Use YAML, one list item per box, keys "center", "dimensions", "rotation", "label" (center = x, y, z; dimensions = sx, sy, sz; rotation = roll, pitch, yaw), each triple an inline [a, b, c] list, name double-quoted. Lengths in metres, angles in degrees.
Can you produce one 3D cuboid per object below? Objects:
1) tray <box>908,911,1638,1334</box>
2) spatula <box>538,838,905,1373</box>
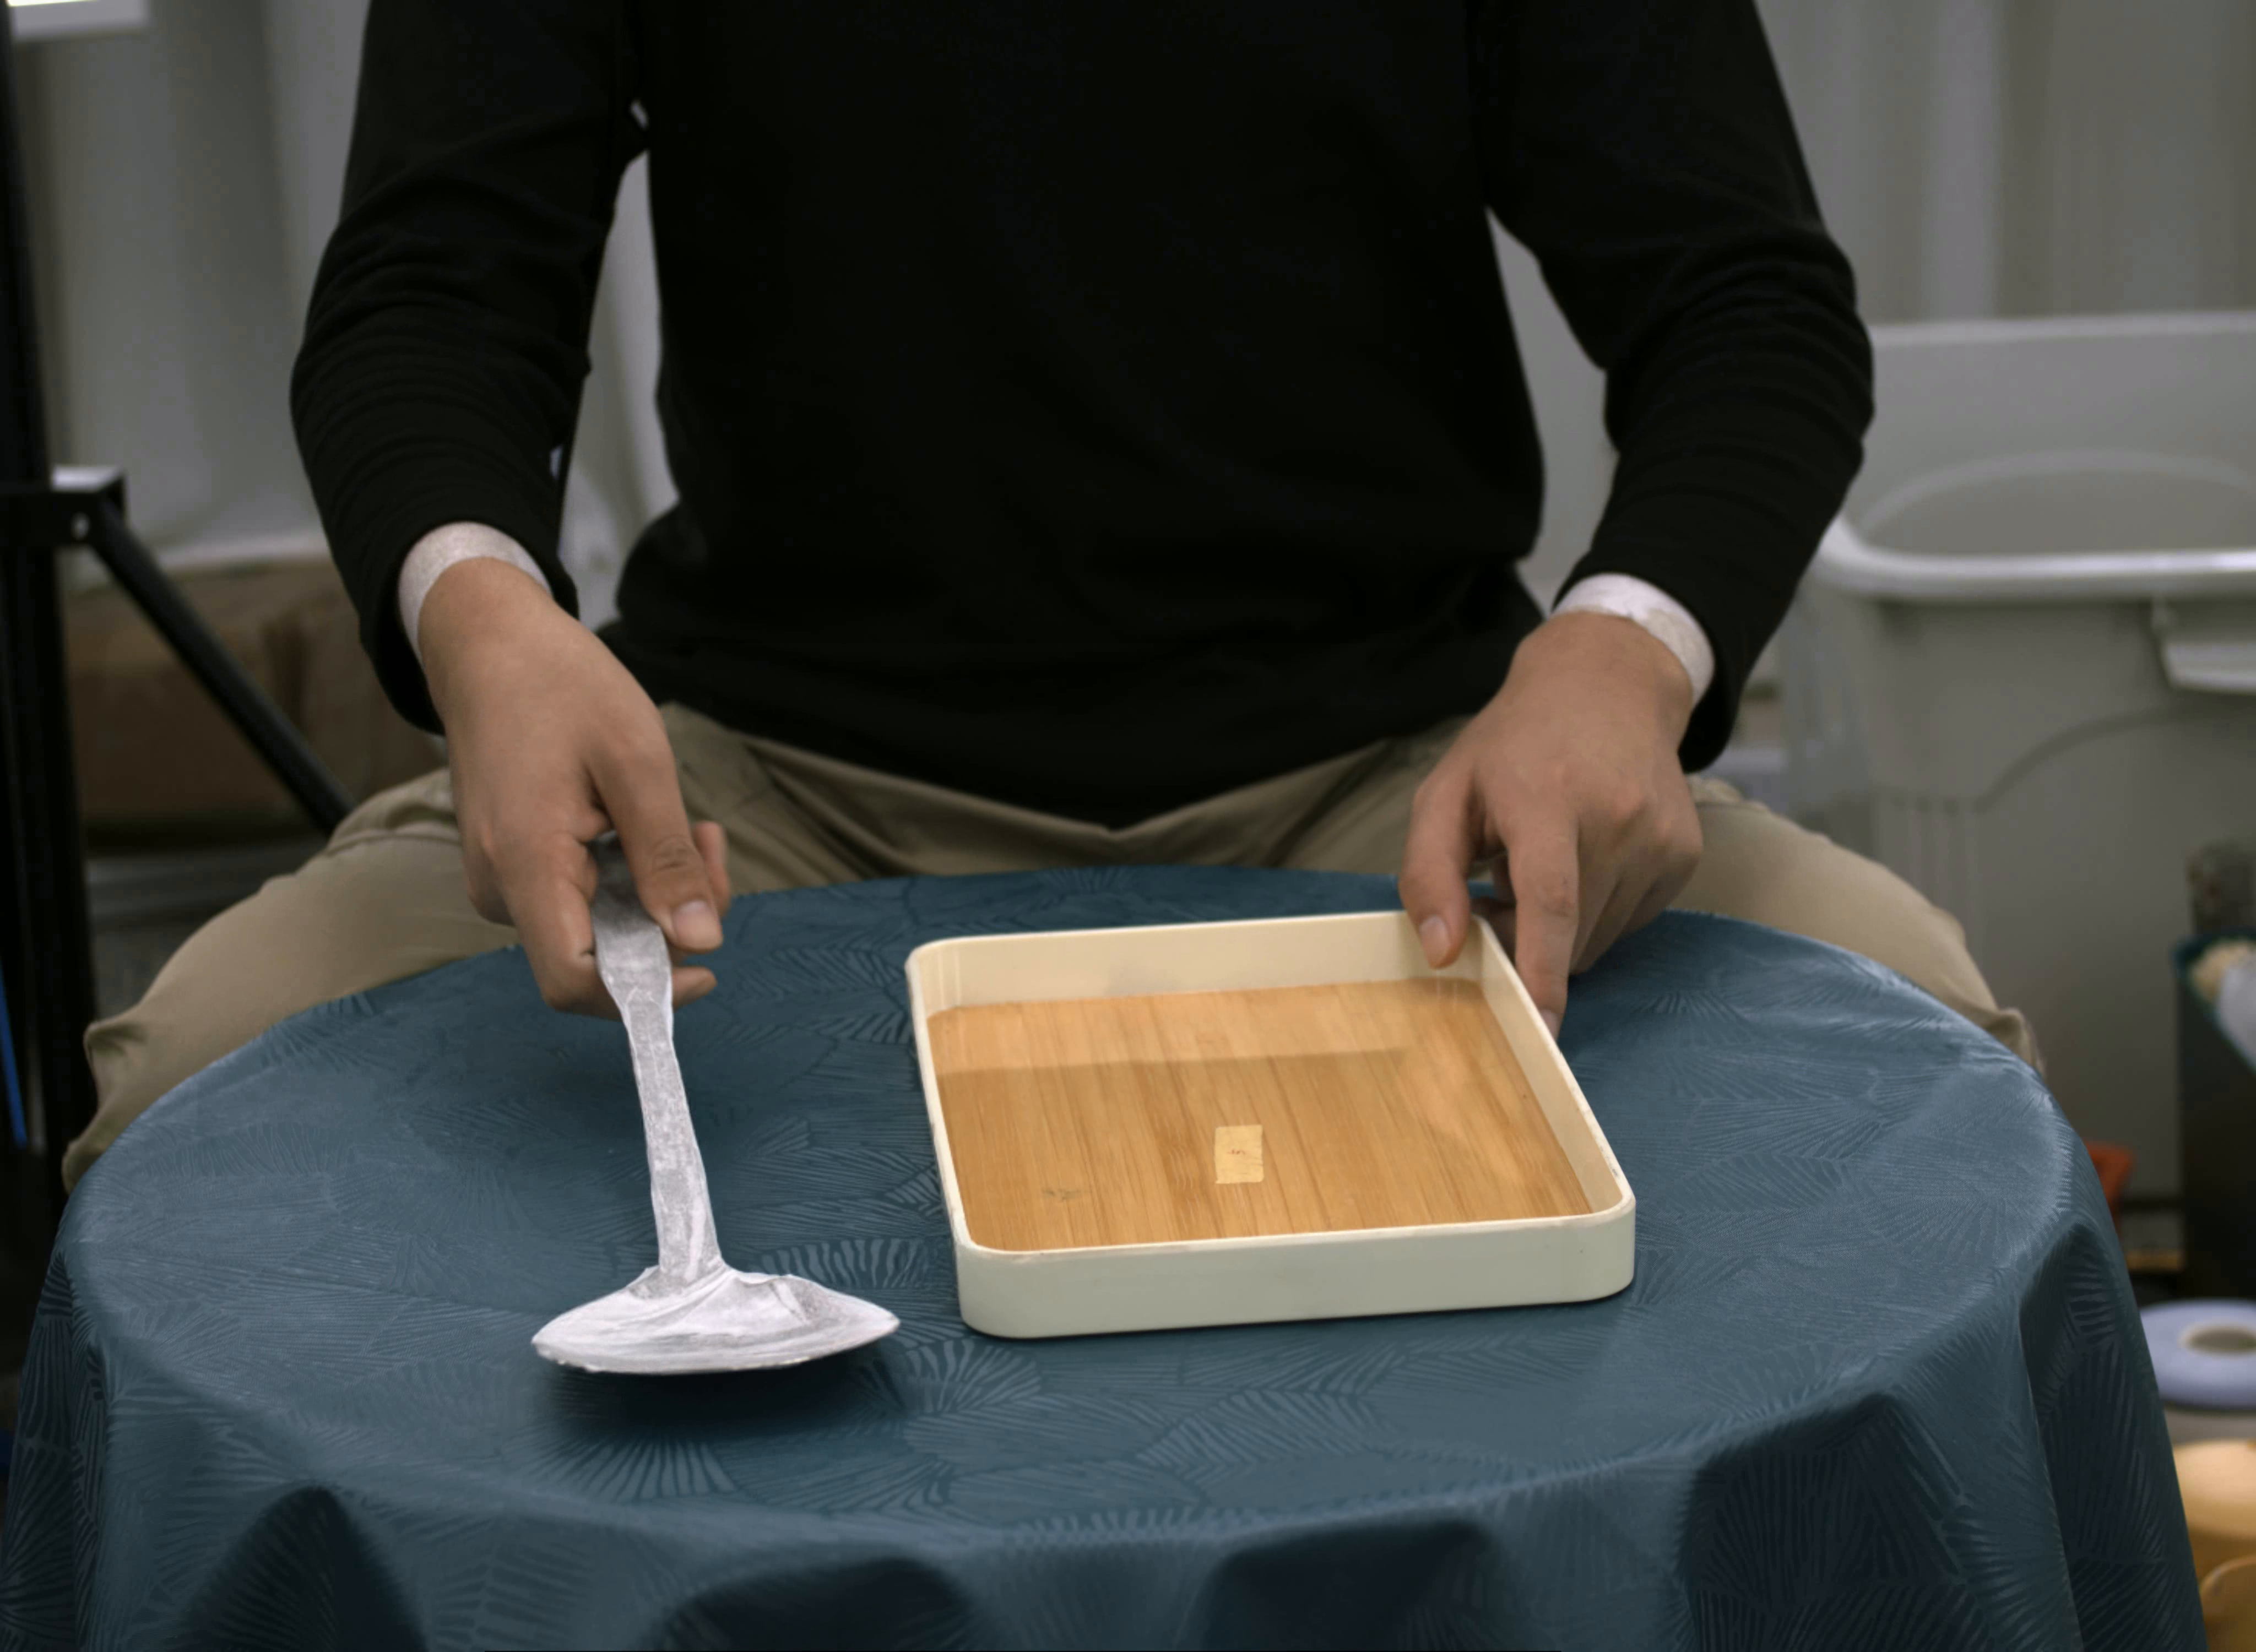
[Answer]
- center: [0.036, 0.084, 1.586]
  dimensions: [0.190, 0.027, 0.302]
  rotation: [-4, 16, -3]
  label: "tray"
- center: [-0.133, 0.072, 1.552]
  dimensions: [0.097, 0.044, 0.370]
  rotation: [-6, 29, -8]
  label: "spatula"
